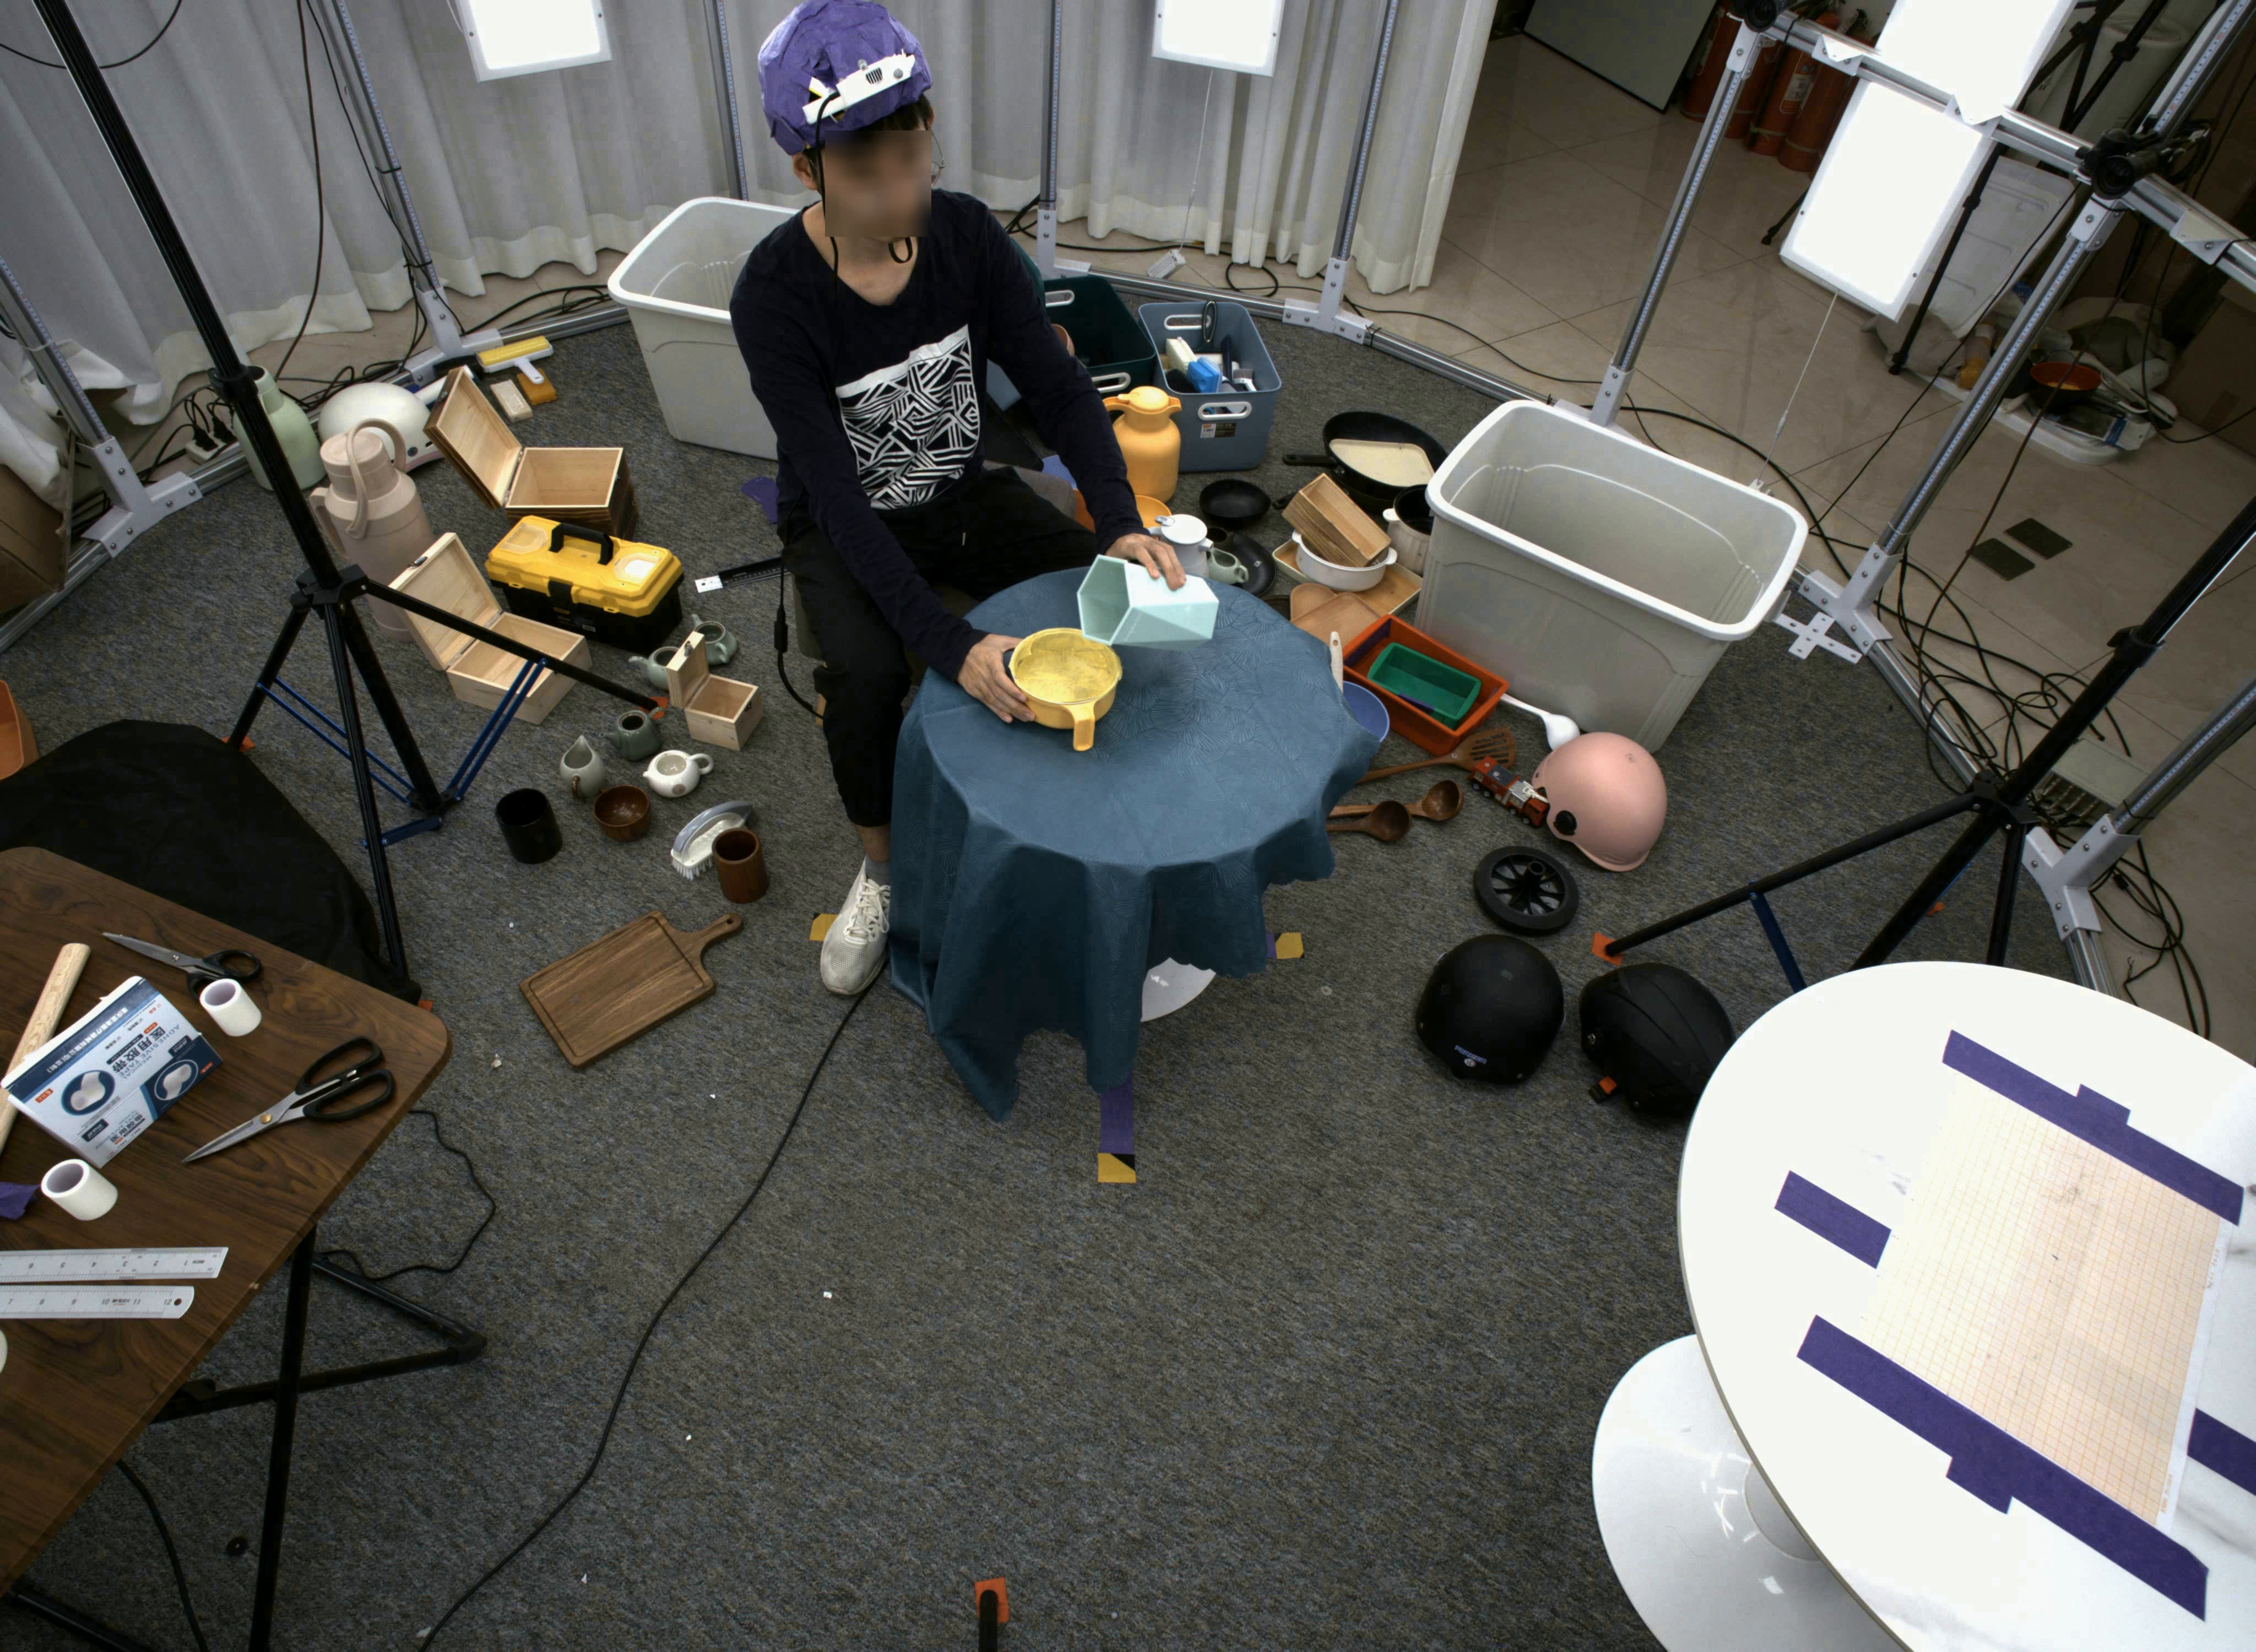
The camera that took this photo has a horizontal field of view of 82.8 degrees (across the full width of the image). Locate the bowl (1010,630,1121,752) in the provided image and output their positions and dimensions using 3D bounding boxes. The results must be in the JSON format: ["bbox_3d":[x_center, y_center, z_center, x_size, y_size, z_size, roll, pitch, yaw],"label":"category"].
[{"bbox_3d":[-0.083,-0.189,1.783,0.153,0.072,0.183,-13,49,-15],"label":"bowl"}]

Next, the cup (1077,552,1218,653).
[{"bbox_3d":[0.031,-0.301,1.767,0.162,0.129,0.118,5,39,-36],"label":"cup"}]
